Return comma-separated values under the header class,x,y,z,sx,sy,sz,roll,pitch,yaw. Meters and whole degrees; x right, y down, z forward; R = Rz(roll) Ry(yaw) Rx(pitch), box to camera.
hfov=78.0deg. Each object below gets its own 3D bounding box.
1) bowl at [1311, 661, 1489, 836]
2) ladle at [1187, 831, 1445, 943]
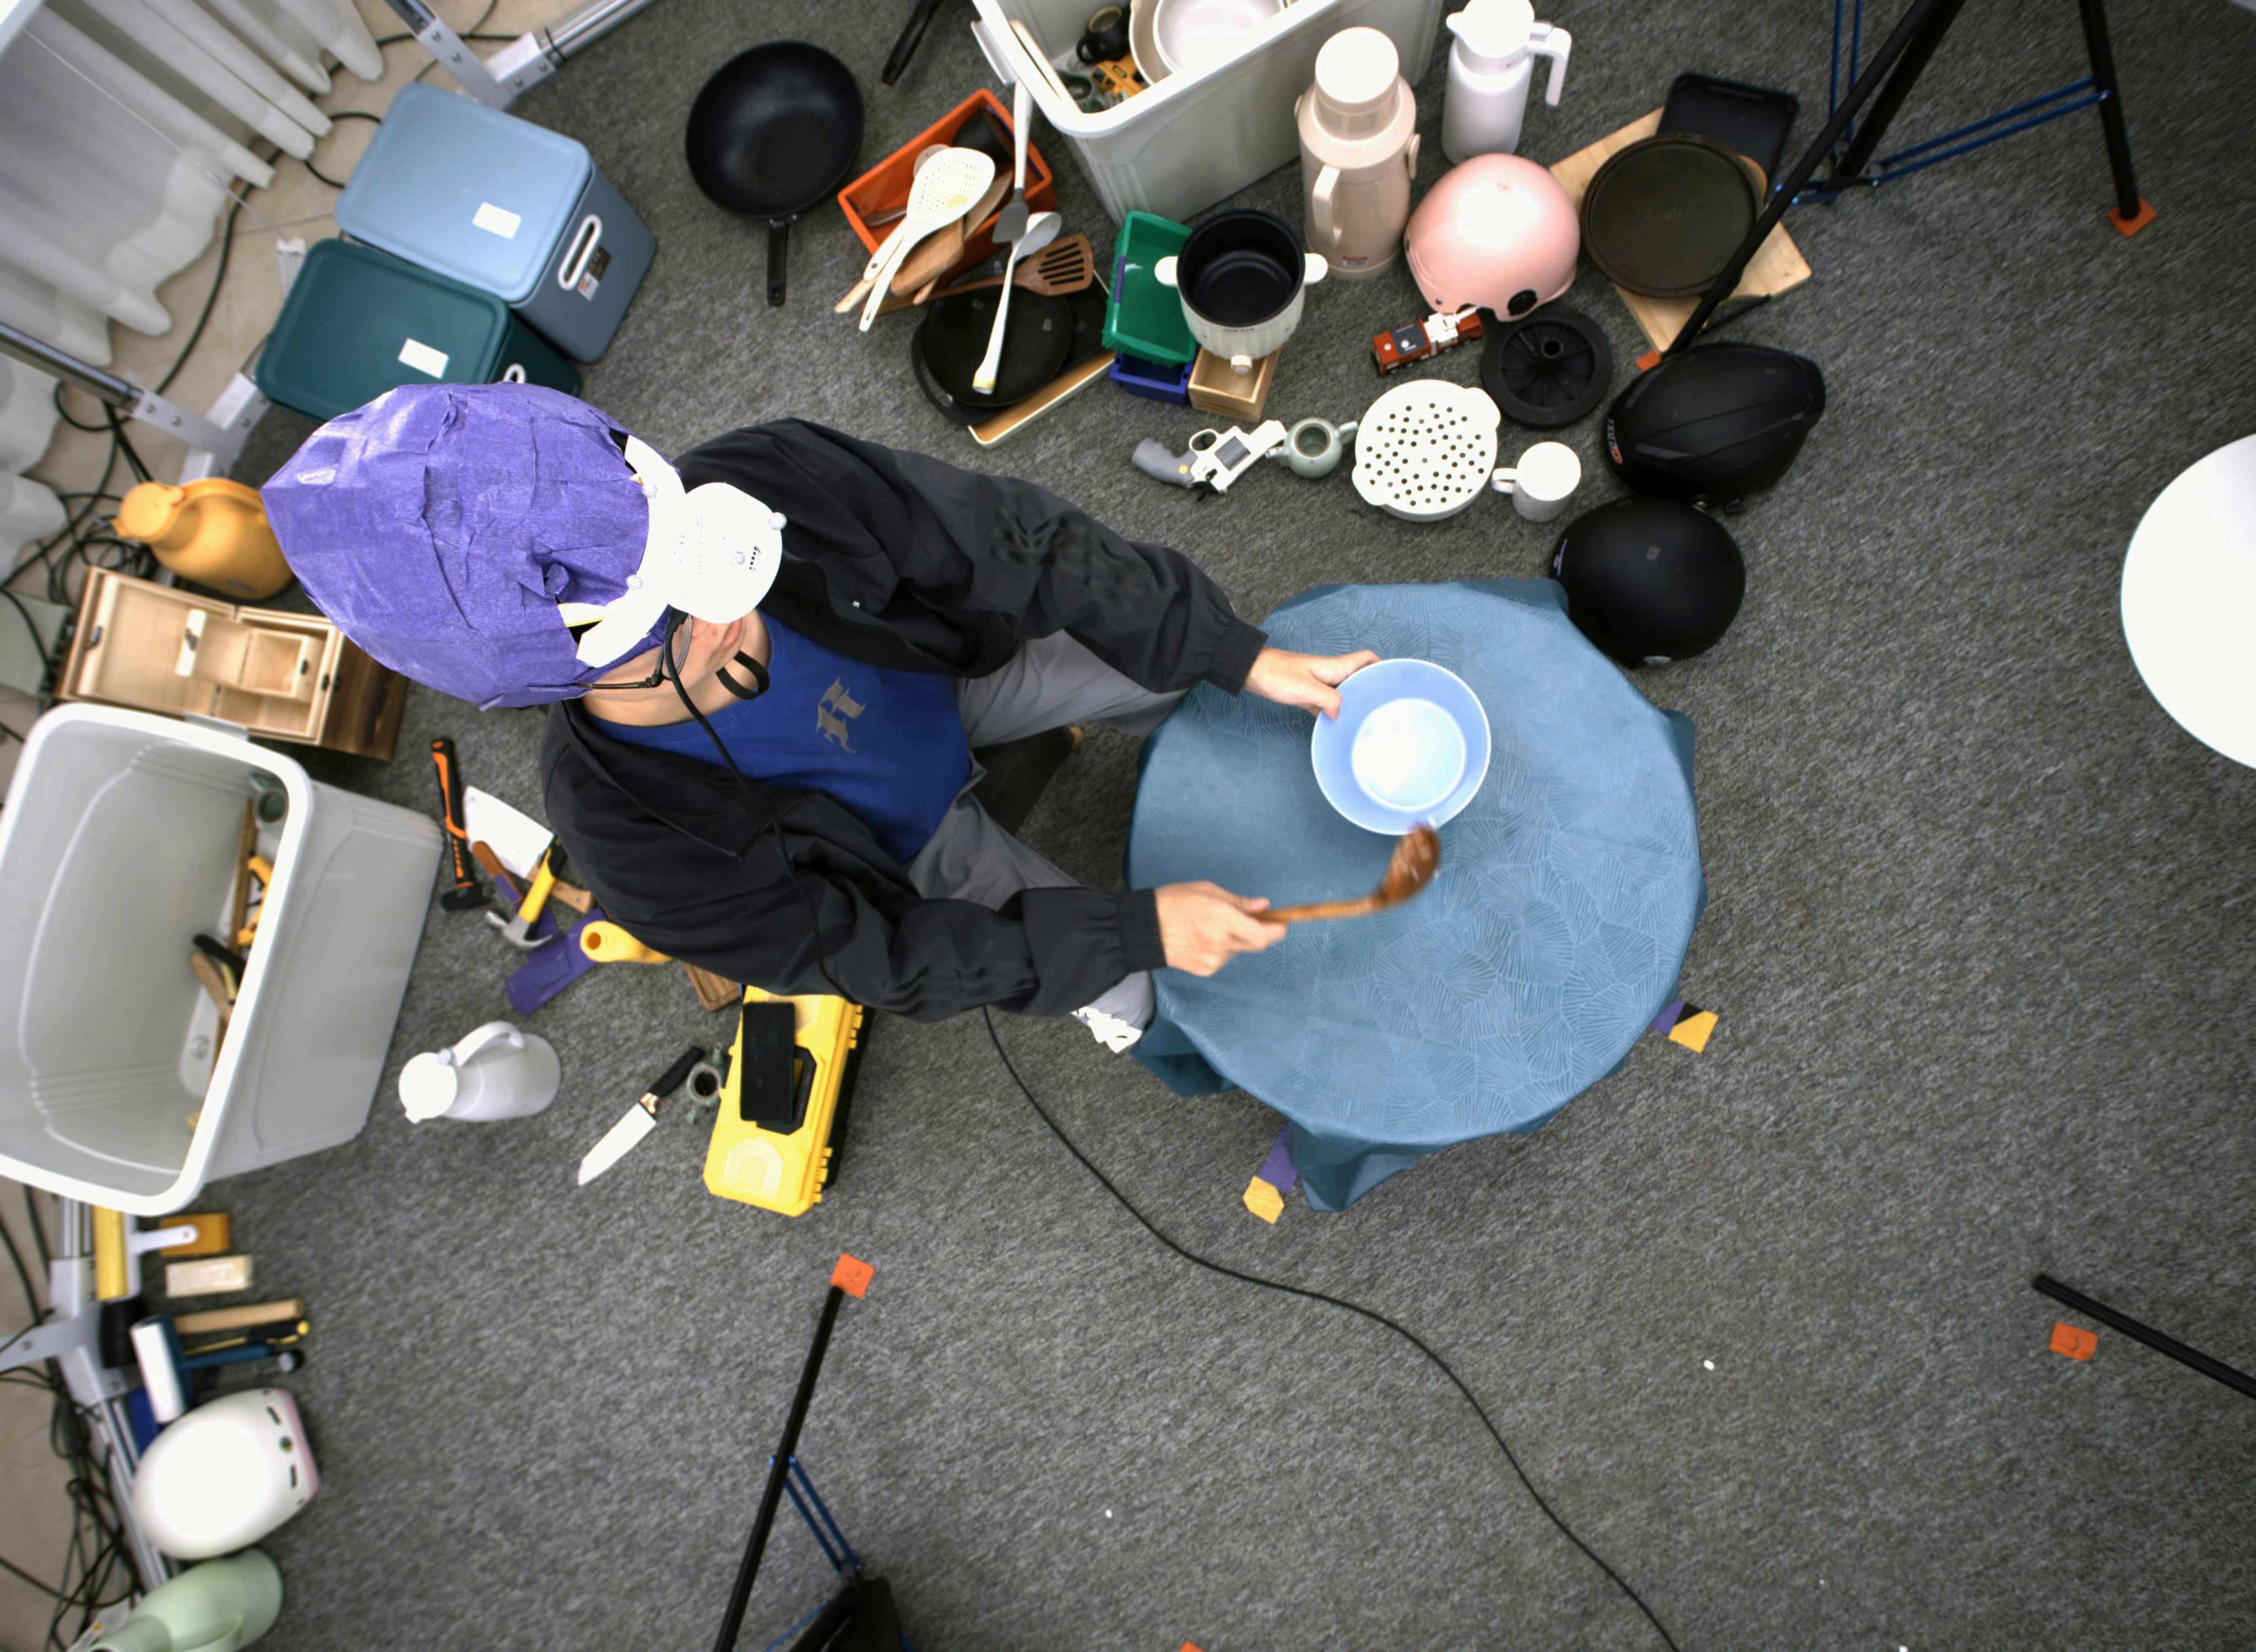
class,x,y,z,sx,sy,sz,roll,pitch,yaw
bowl,0.277,-0.075,1.381,0.177,0.070,0.175,-2,85,21
ladle,0.170,0.059,1.315,0.277,0.081,0.076,-10,84,34
